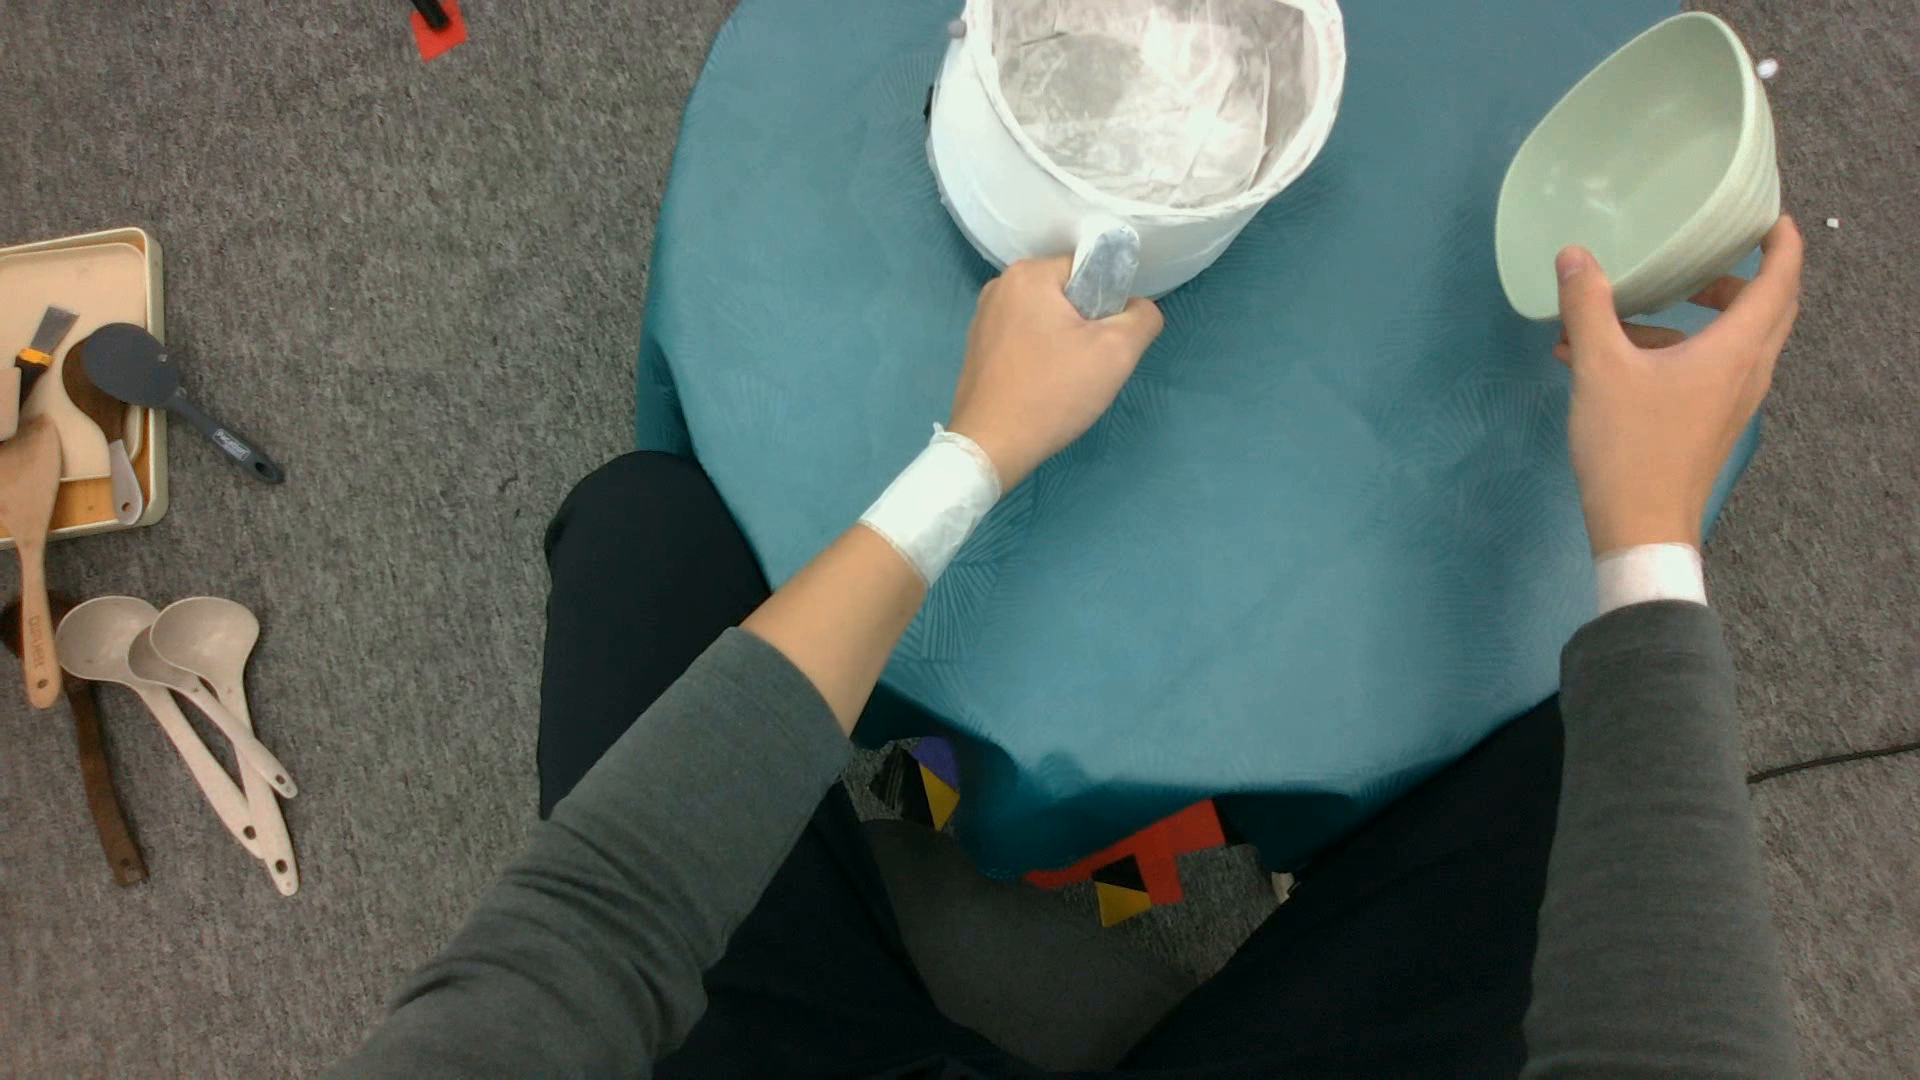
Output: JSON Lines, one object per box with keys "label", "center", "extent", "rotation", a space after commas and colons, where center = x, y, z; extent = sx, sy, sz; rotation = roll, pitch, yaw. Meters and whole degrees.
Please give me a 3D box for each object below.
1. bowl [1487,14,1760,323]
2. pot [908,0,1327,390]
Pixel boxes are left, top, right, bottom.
{"label": "bowl", "center": [0.320, -0.164, 0.651], "extent": [0.058, 0.151, 0.152], "rotation": [22, 78, -14]}
{"label": "pot", "center": [0.066, -0.194, 0.673], "extent": [0.179, 0.136, 0.234], "rotation": [12, 77, -9]}
